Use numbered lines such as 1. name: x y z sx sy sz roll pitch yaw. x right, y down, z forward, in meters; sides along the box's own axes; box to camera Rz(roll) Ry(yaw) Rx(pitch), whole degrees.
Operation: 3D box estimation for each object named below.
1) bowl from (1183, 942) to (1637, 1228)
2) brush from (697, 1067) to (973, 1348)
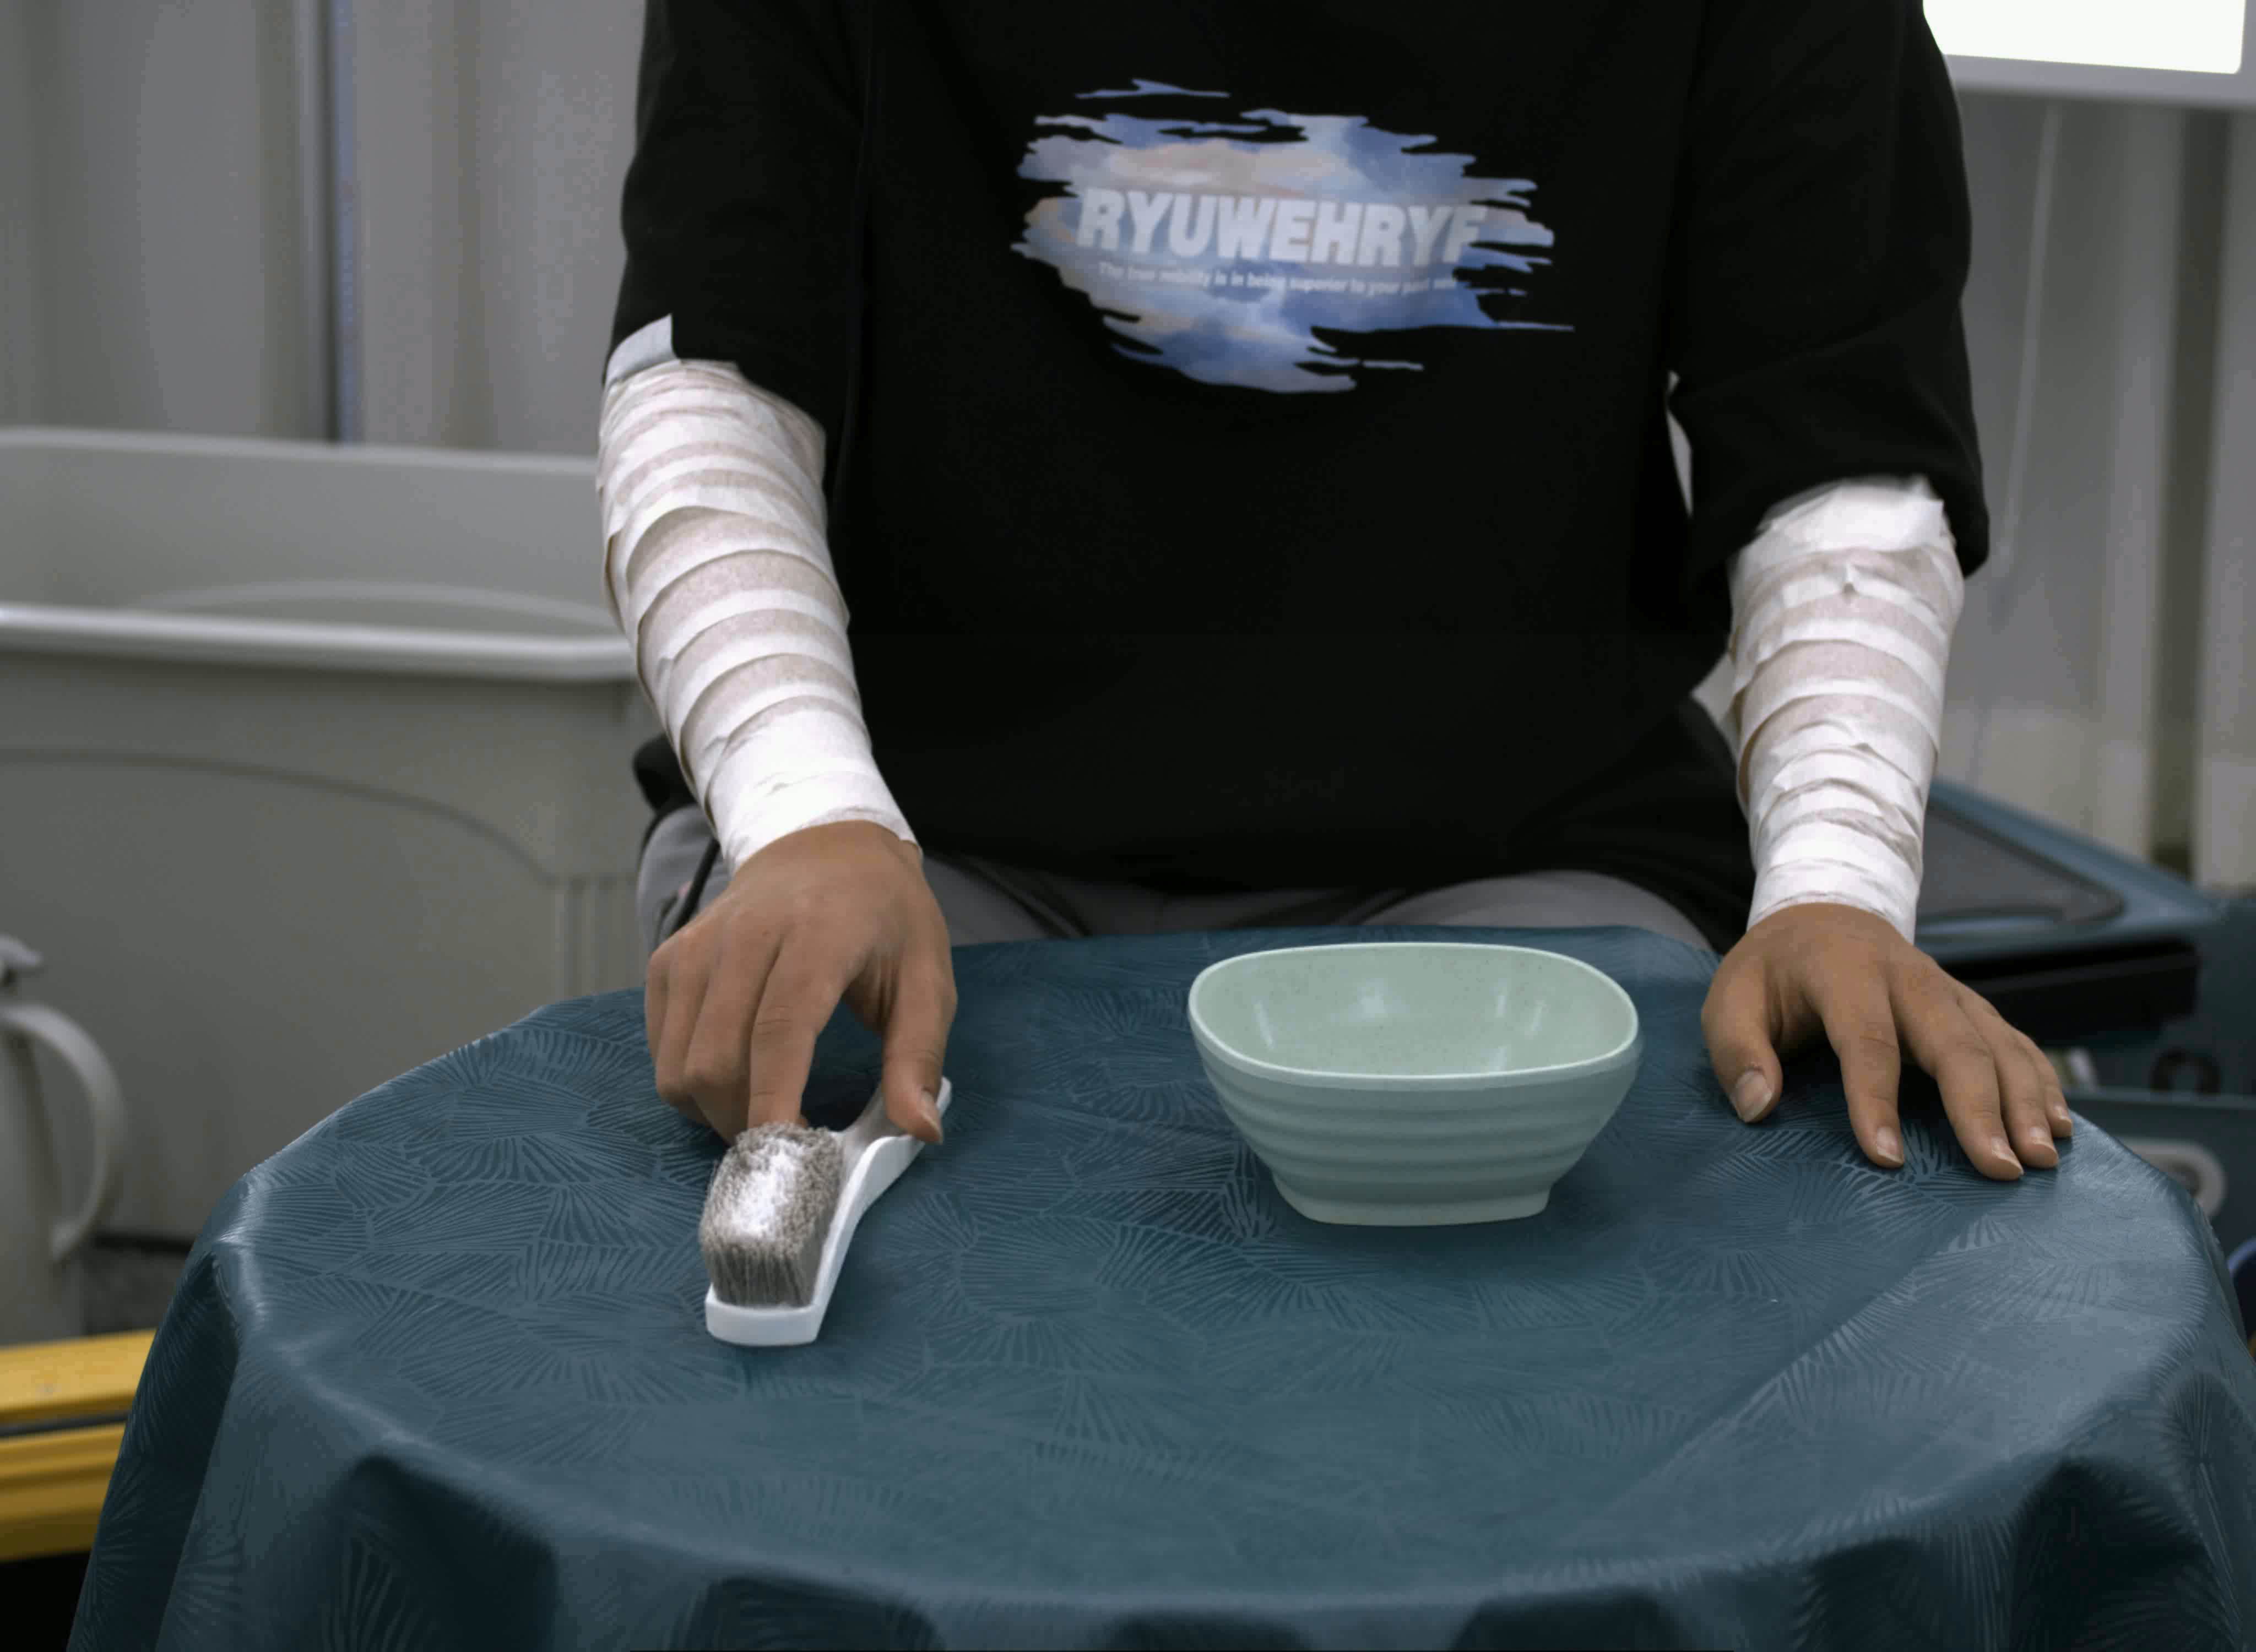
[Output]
1. bowl: 0.086 0.083 1.628 0.151 0.059 0.150 2 16 0
2. brush: -0.084 0.095 1.589 0.034 0.050 0.243 7 17 11
